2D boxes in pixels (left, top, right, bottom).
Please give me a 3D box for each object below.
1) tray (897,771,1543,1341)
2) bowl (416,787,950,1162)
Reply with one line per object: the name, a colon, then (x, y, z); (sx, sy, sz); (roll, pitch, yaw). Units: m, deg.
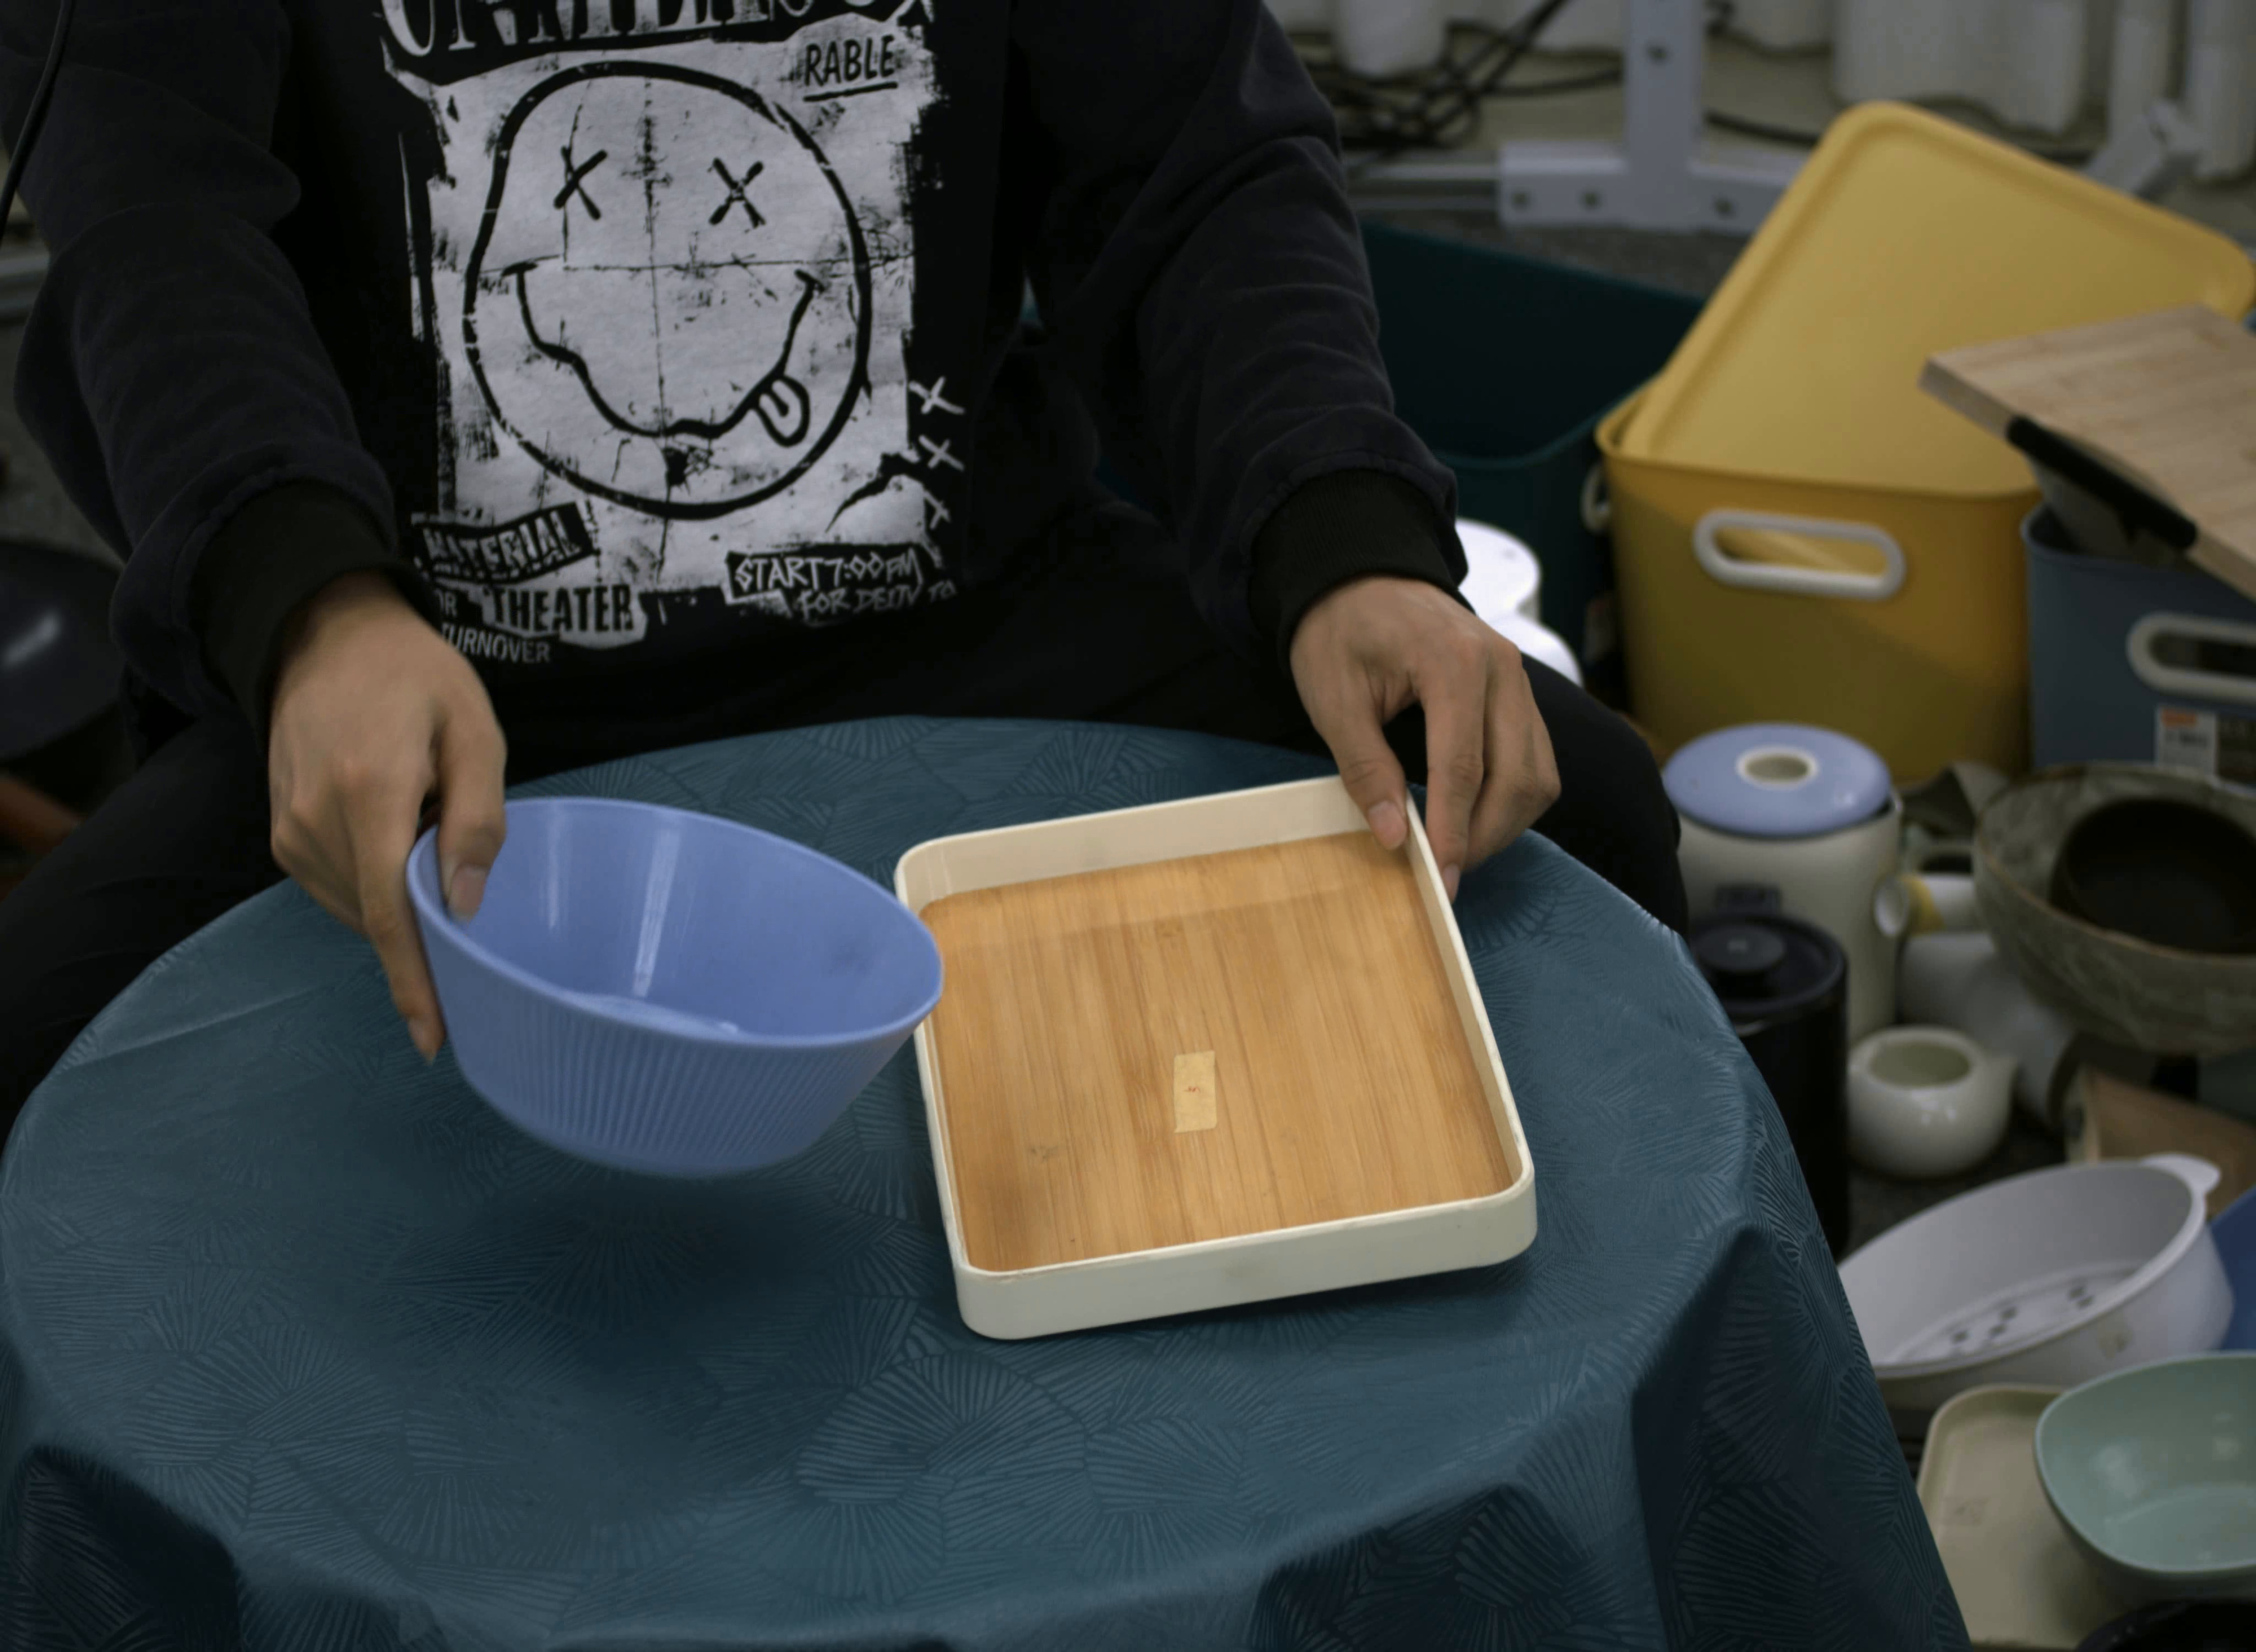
tray: (0.025, 0.073, 1.911); (0.191, 0.027, 0.304); (-9, 28, -2)
bowl: (-0.150, 0.053, 1.804); (0.175, 0.070, 0.178); (15, 19, -5)
